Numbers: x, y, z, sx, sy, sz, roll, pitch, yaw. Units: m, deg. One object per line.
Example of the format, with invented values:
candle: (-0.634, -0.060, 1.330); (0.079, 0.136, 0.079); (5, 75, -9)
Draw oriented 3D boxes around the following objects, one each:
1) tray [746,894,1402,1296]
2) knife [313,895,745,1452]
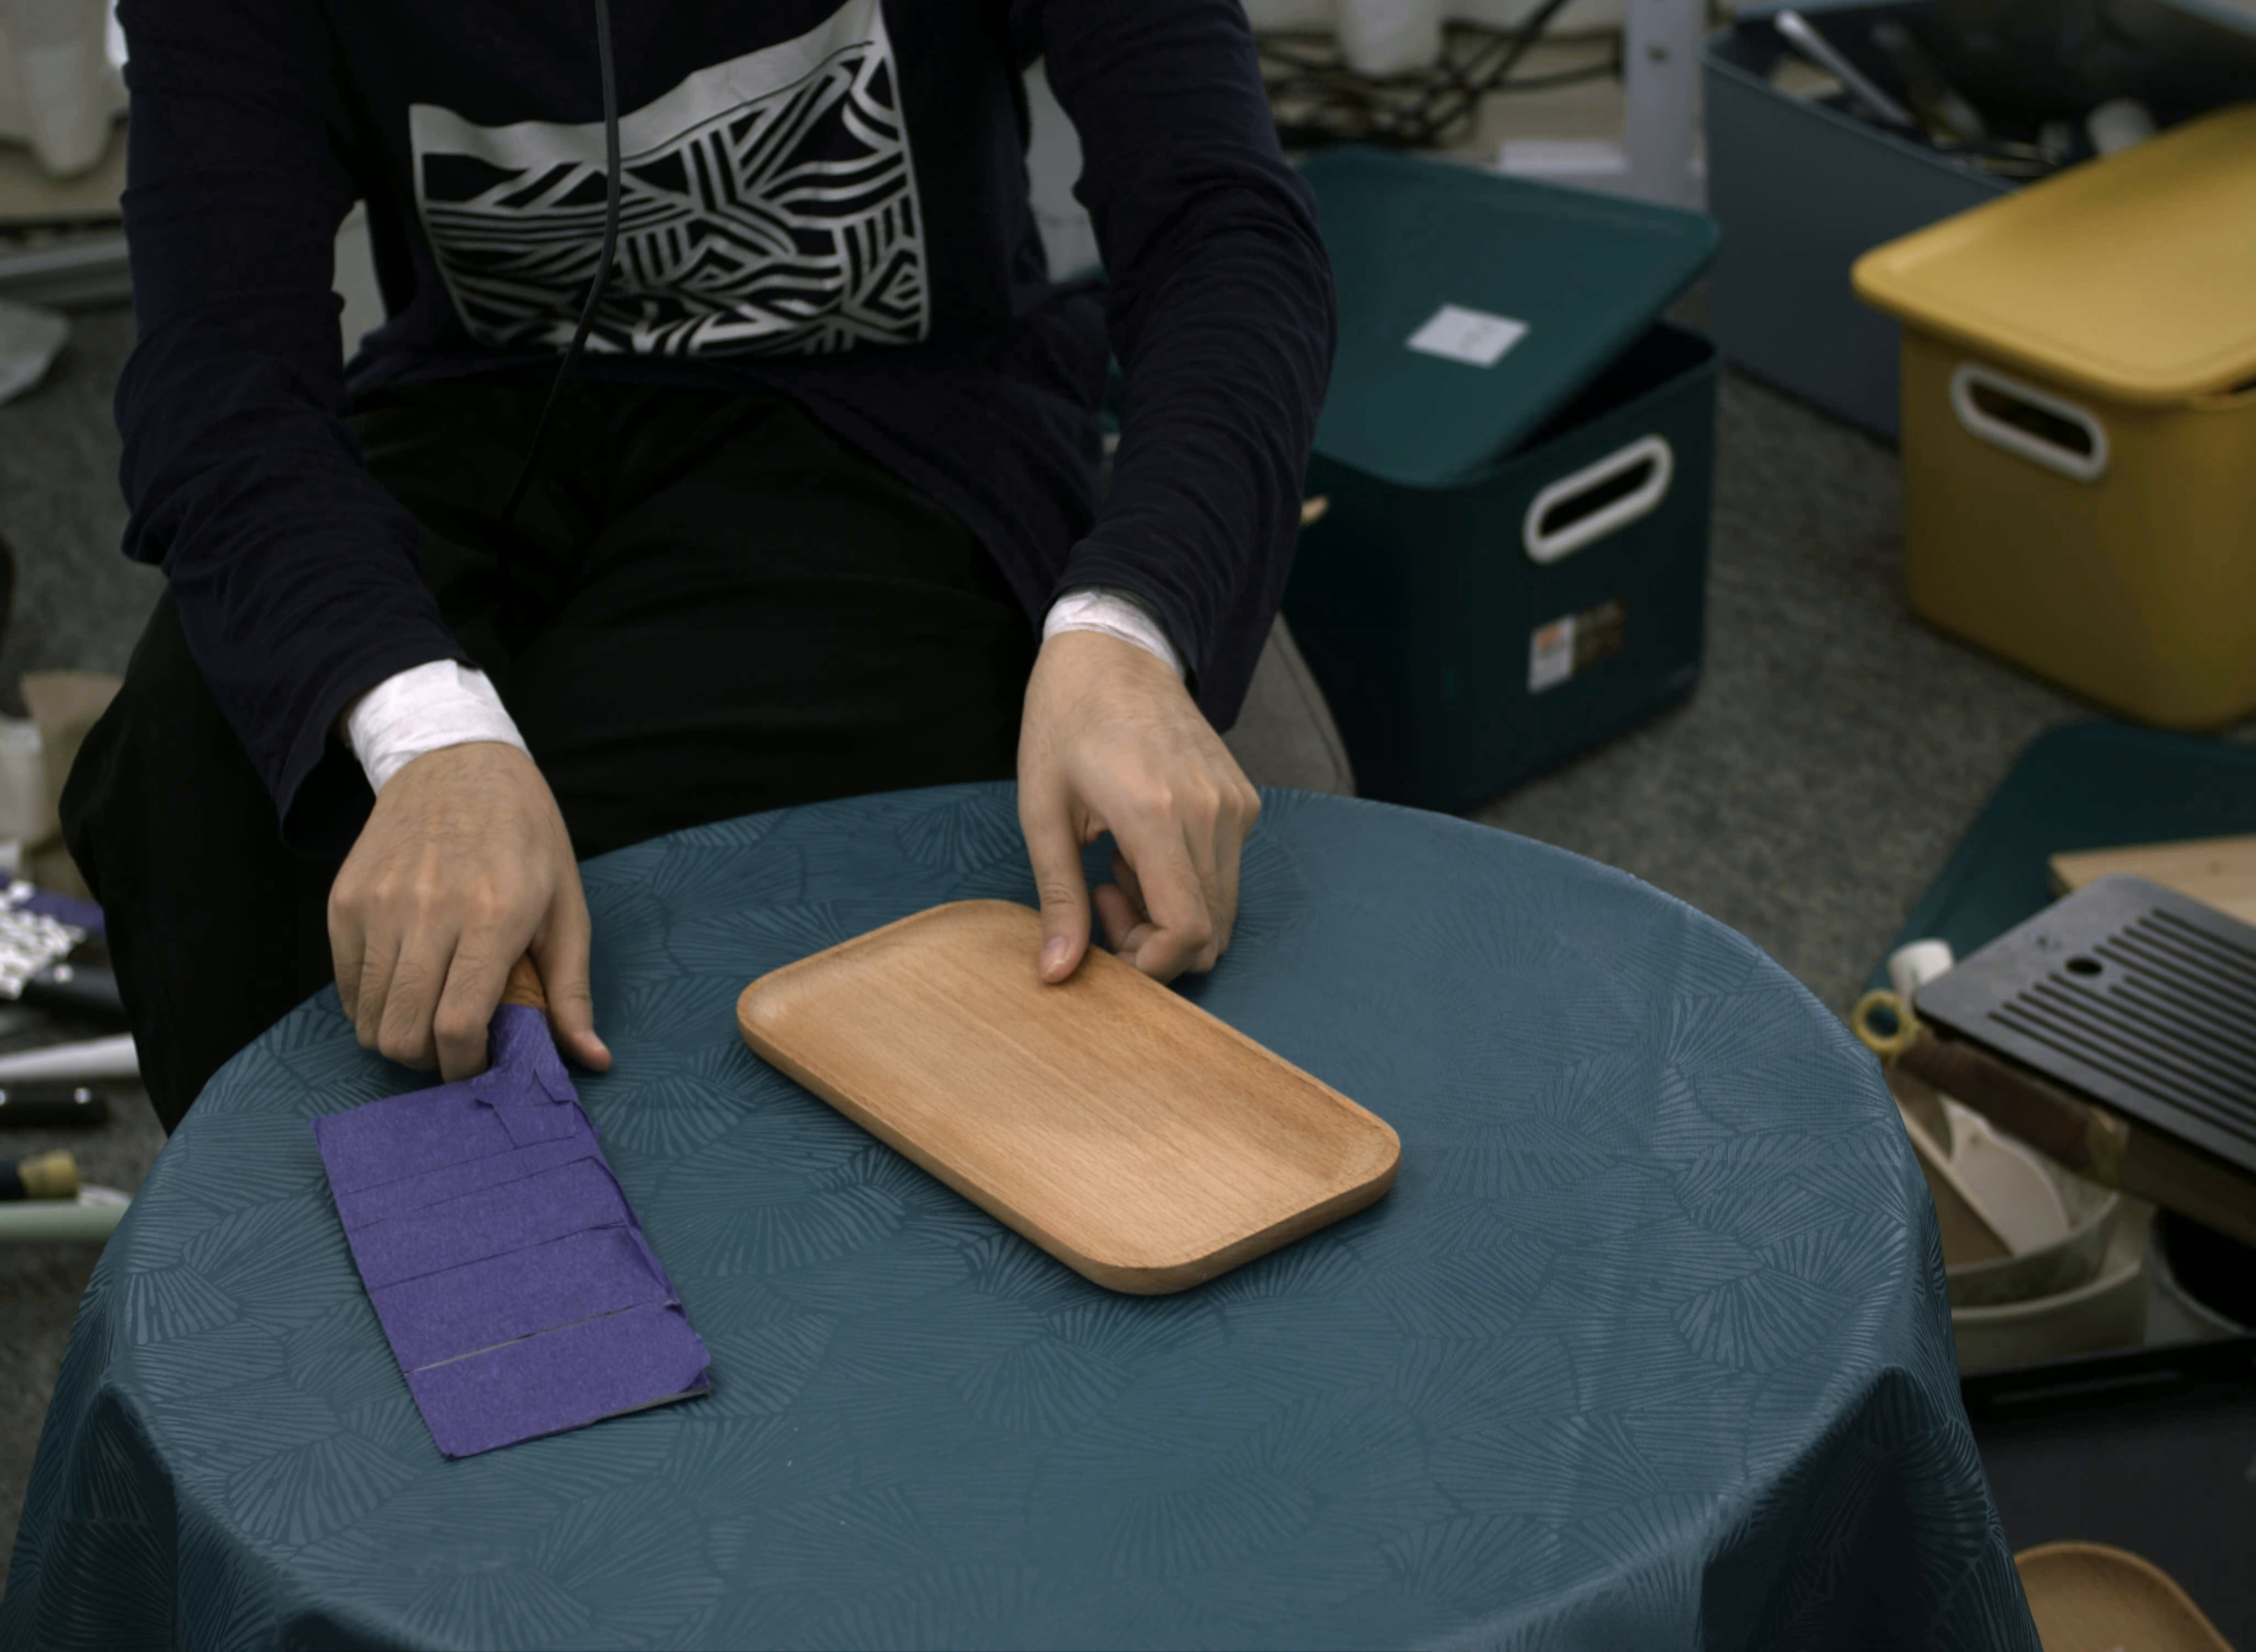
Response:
tray: (-0.021, 0.089, 1.909); (0.131, 0.022, 0.251); (-17, 30, -30)
knife: (-0.219, 0.111, 1.872); (0.104, 0.032, 0.318); (-12, 29, -16)
